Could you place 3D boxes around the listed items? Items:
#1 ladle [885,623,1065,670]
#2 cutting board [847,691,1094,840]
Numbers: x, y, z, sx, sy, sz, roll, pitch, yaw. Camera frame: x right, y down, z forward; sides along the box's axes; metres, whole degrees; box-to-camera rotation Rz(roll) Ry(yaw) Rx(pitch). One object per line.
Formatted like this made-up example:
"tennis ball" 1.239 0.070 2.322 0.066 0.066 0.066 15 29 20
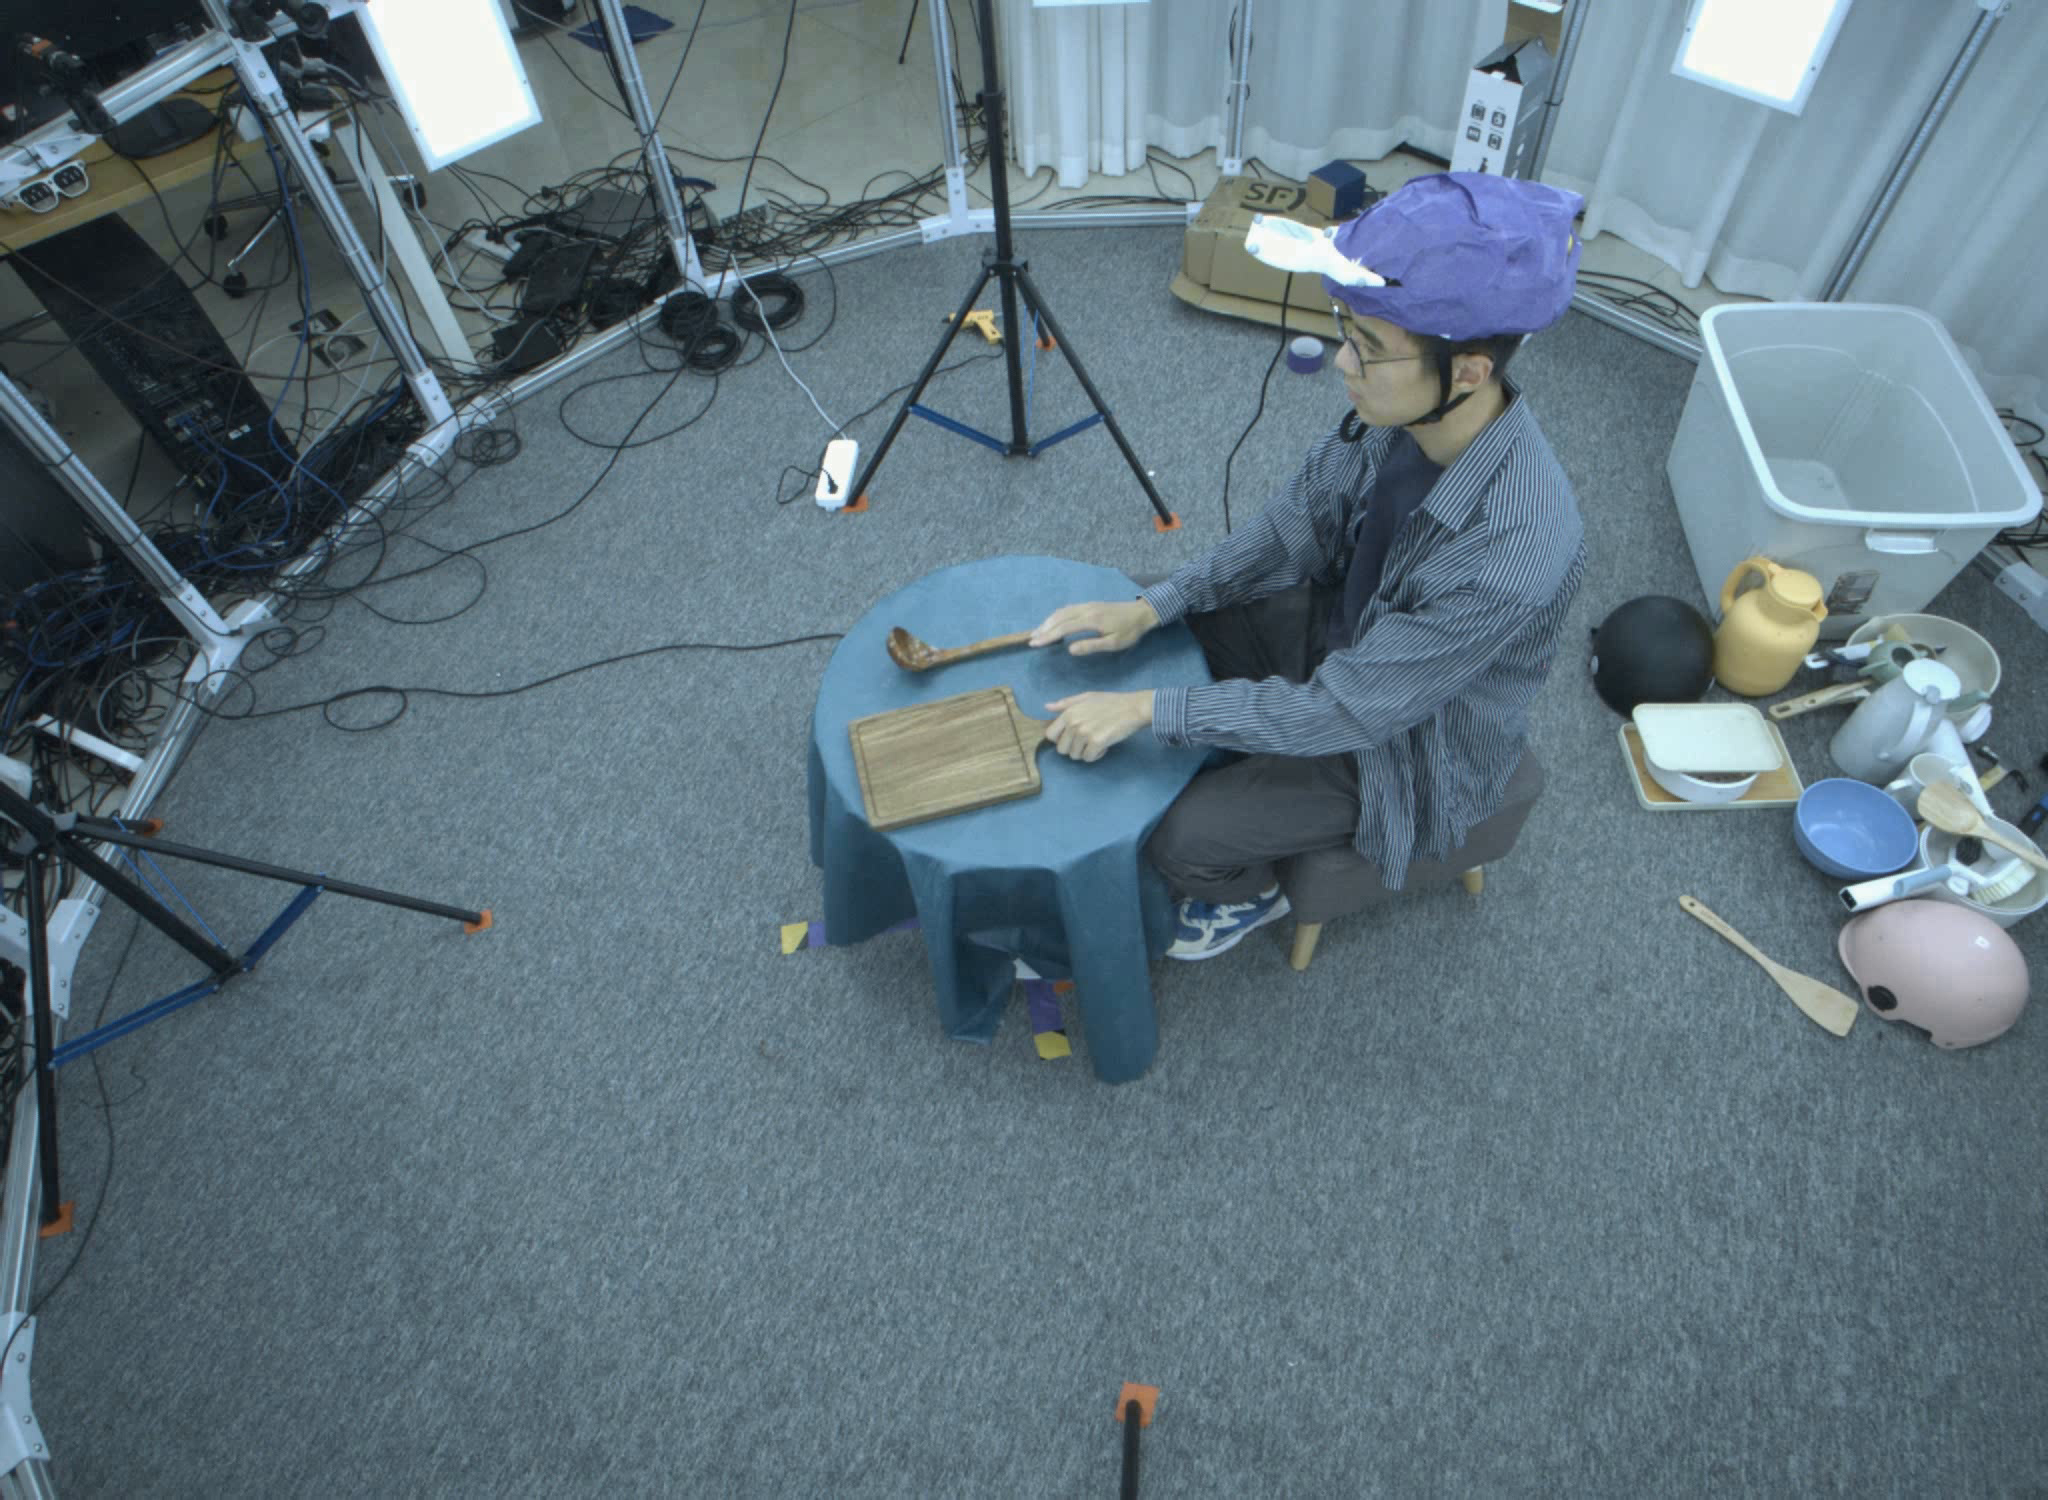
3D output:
"ladle" -0.074 -0.175 1.871 0.275 0.077 0.080 -11 55 -6
"cutting board" -0.069 0.007 1.776 0.354 0.023 0.198 -12 55 -7
